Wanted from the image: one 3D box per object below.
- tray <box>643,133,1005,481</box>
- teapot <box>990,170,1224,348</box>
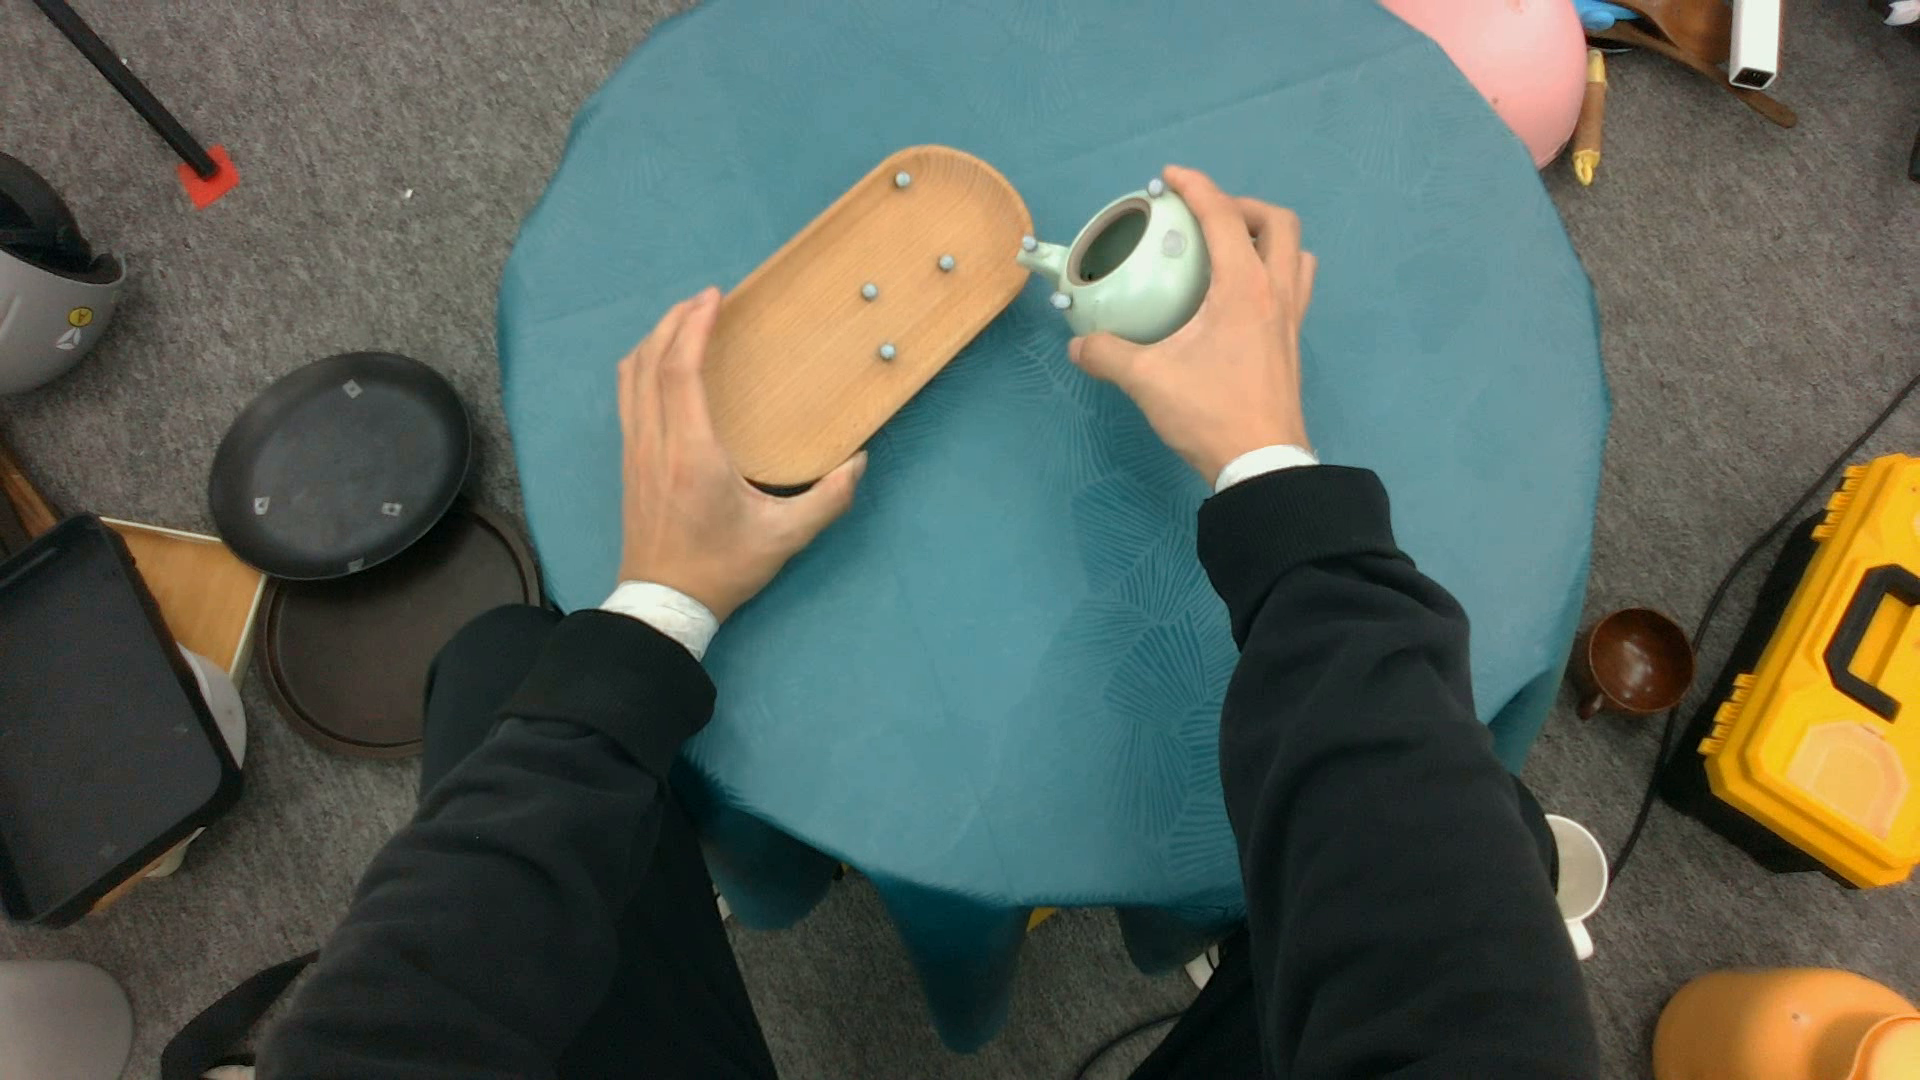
[{"bbox_3d":[-0.066,-0.123,0.710,0.101,0.020,0.232,43,69,-3],"label":"tray"},{"bbox_3d":[0.080,-0.139,0.683,0.075,0.143,0.088,34,76,-31],"label":"teapot"}]
